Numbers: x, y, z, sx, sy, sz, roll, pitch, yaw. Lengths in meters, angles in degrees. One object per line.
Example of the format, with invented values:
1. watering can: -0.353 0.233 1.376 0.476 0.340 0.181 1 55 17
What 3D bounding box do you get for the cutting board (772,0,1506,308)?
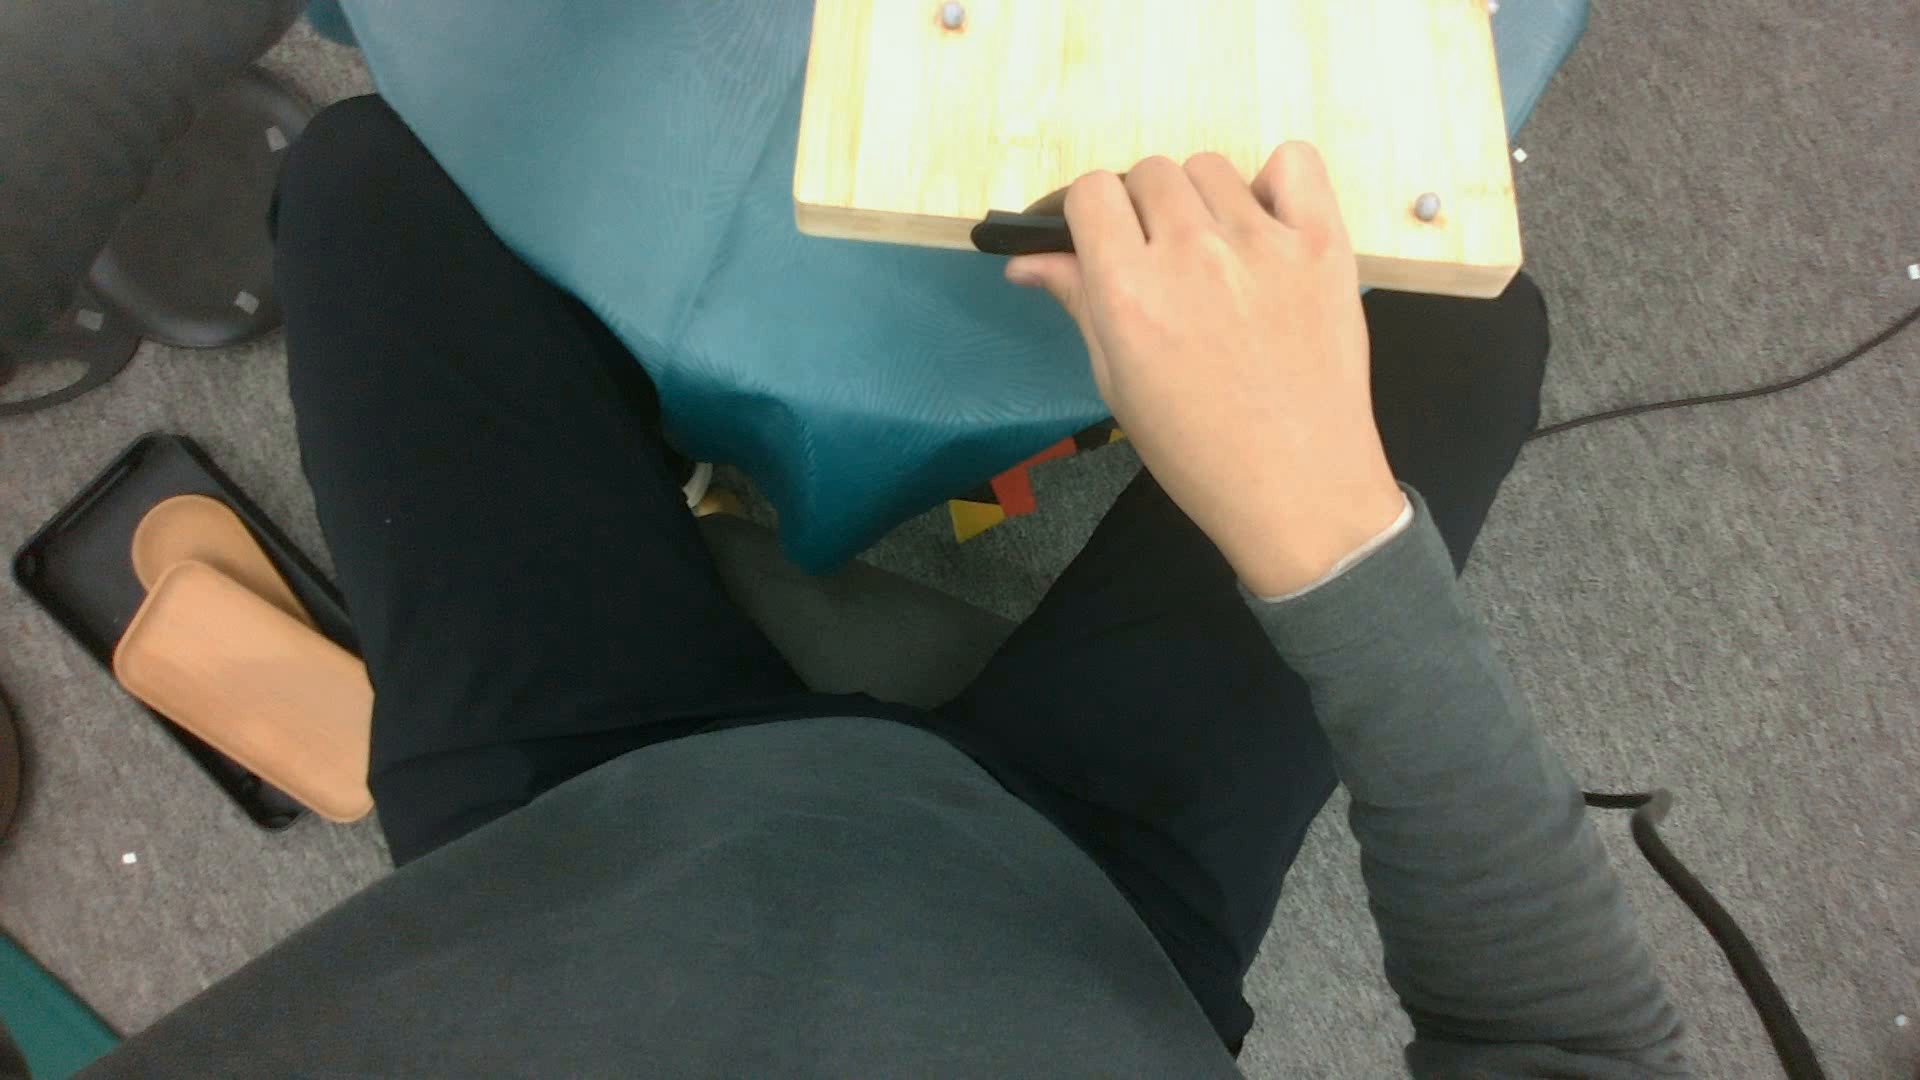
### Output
1. cutting board: 0.071 -0.247 0.528 0.251 0.023 0.350 4 65 -3
